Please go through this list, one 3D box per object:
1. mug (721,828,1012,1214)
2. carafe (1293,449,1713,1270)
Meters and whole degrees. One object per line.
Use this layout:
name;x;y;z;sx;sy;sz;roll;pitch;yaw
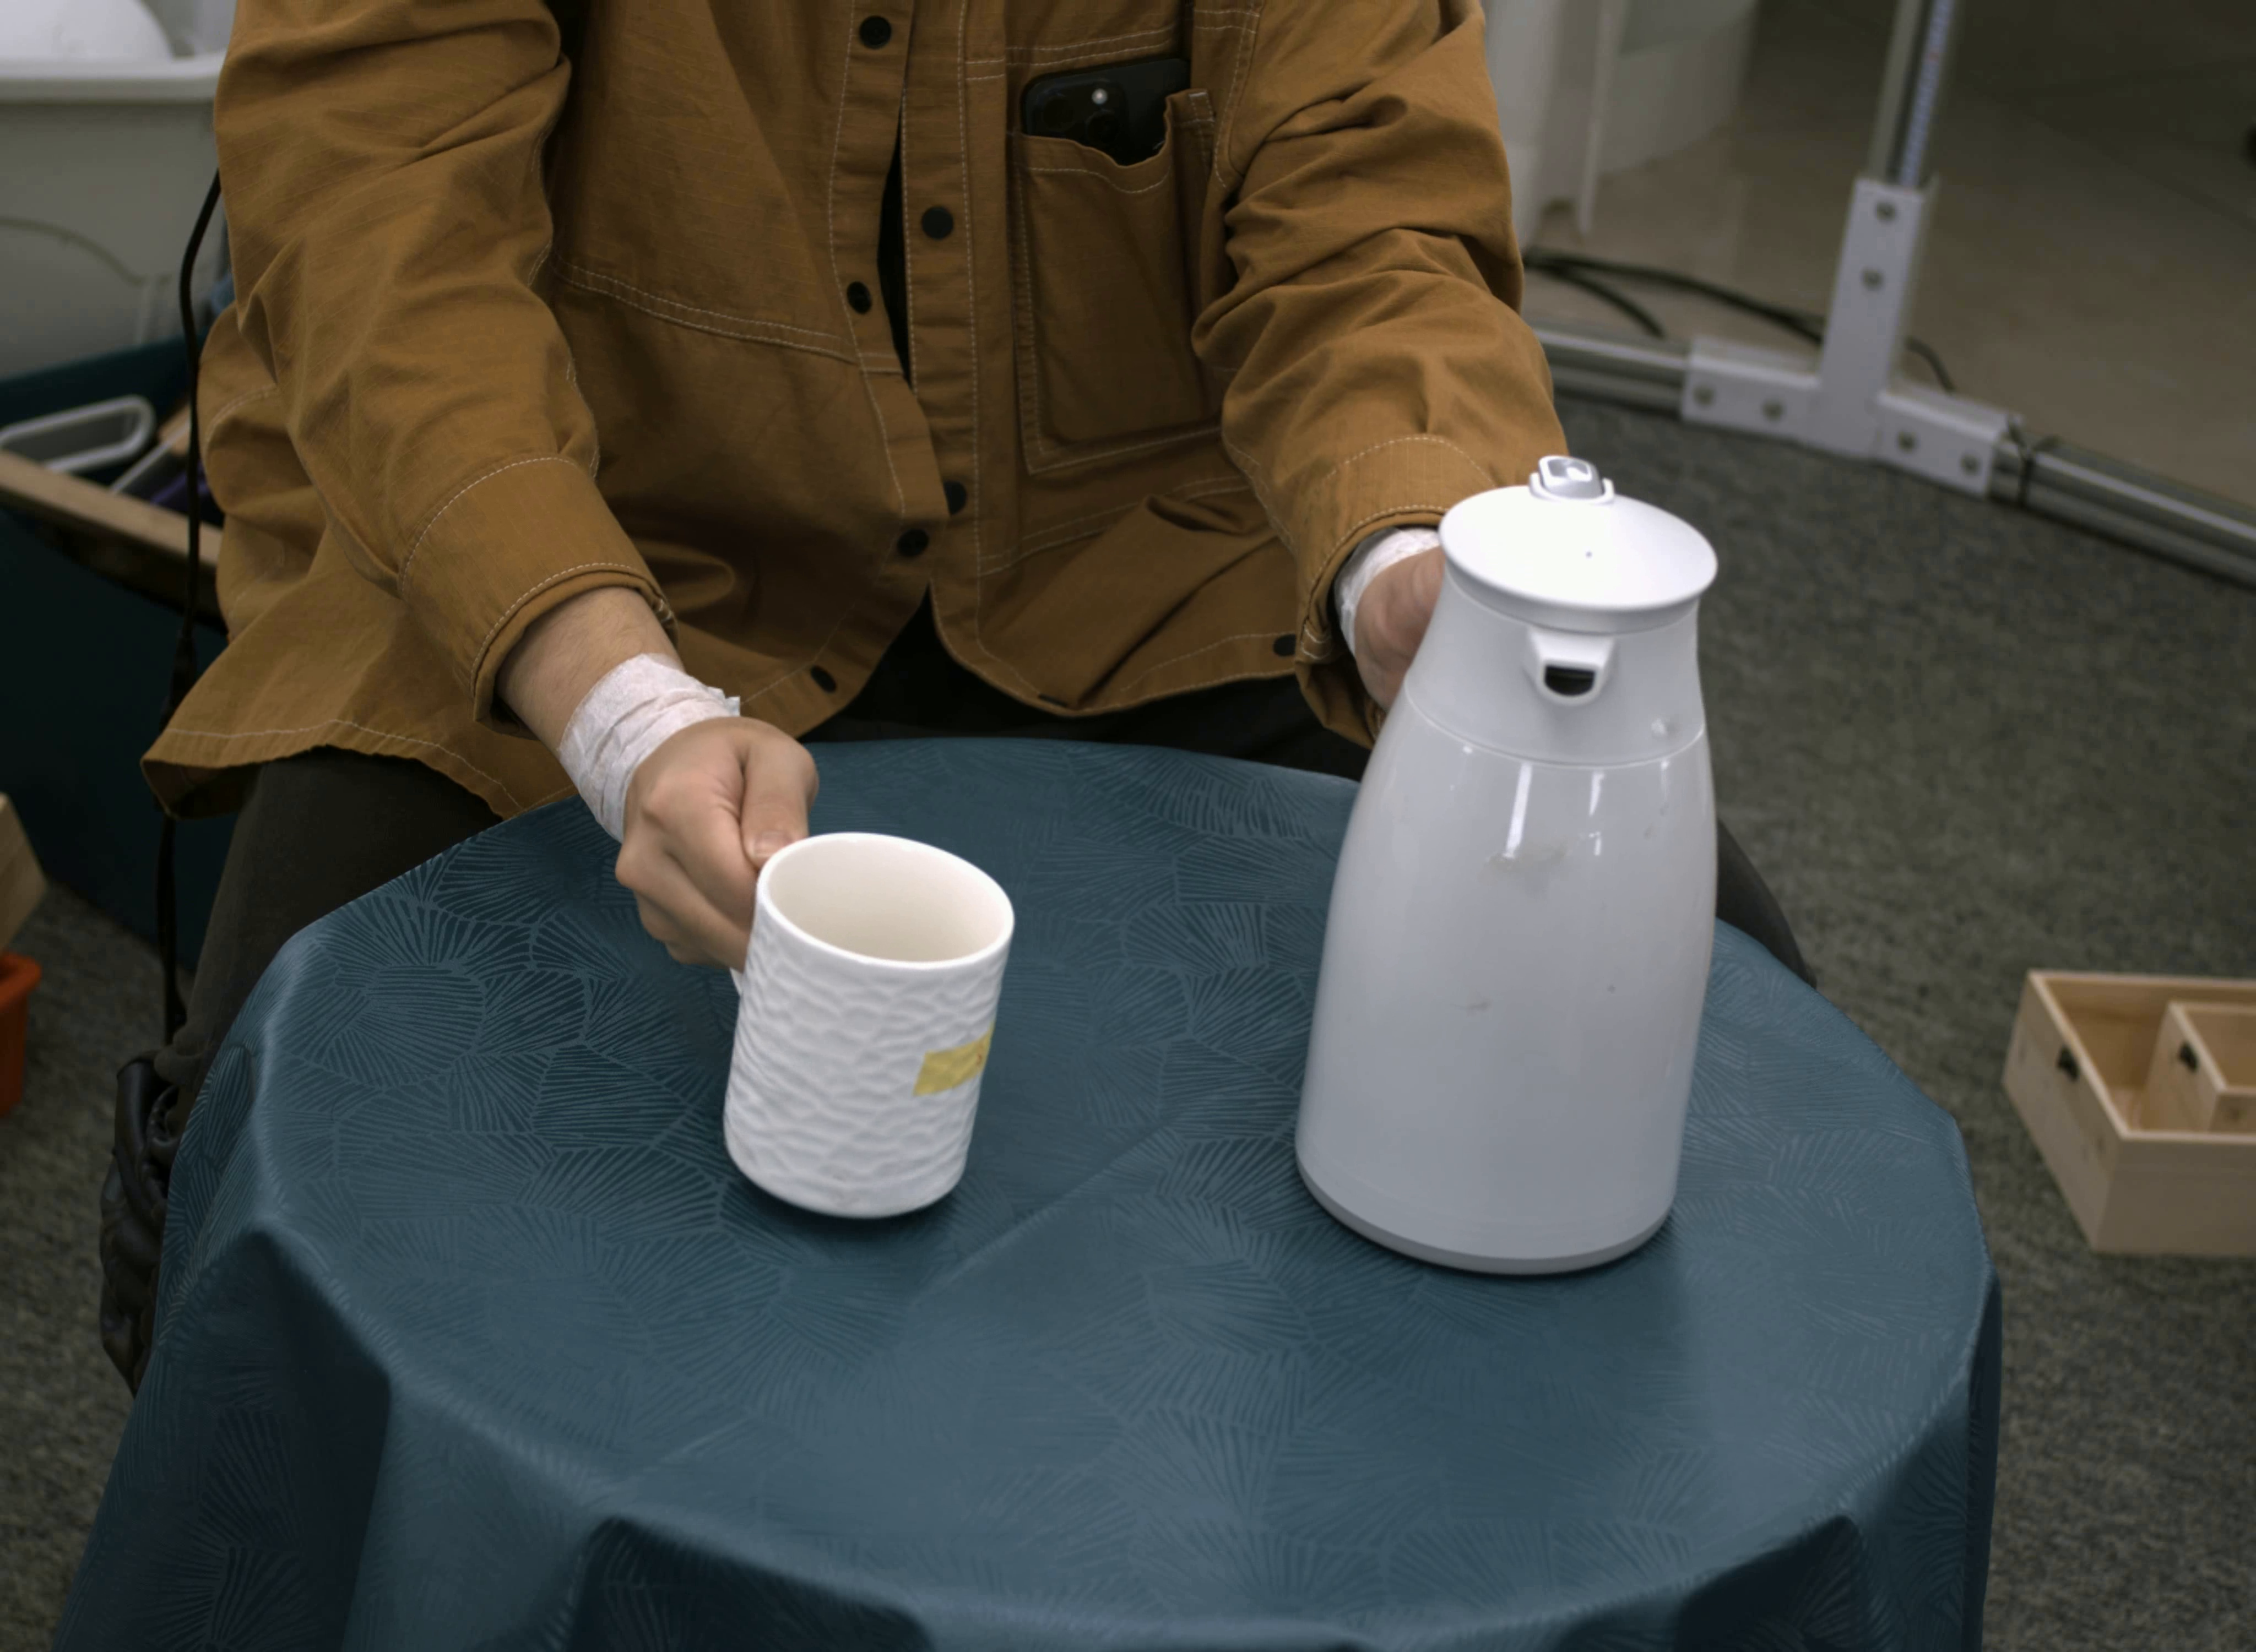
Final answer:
mug;-0.098;0.058;1.776;0.084;0.101;0.119;-13;36;-37
carafe;0.133;0.000;1.794;0.132;0.248;0.168;5;26;1
